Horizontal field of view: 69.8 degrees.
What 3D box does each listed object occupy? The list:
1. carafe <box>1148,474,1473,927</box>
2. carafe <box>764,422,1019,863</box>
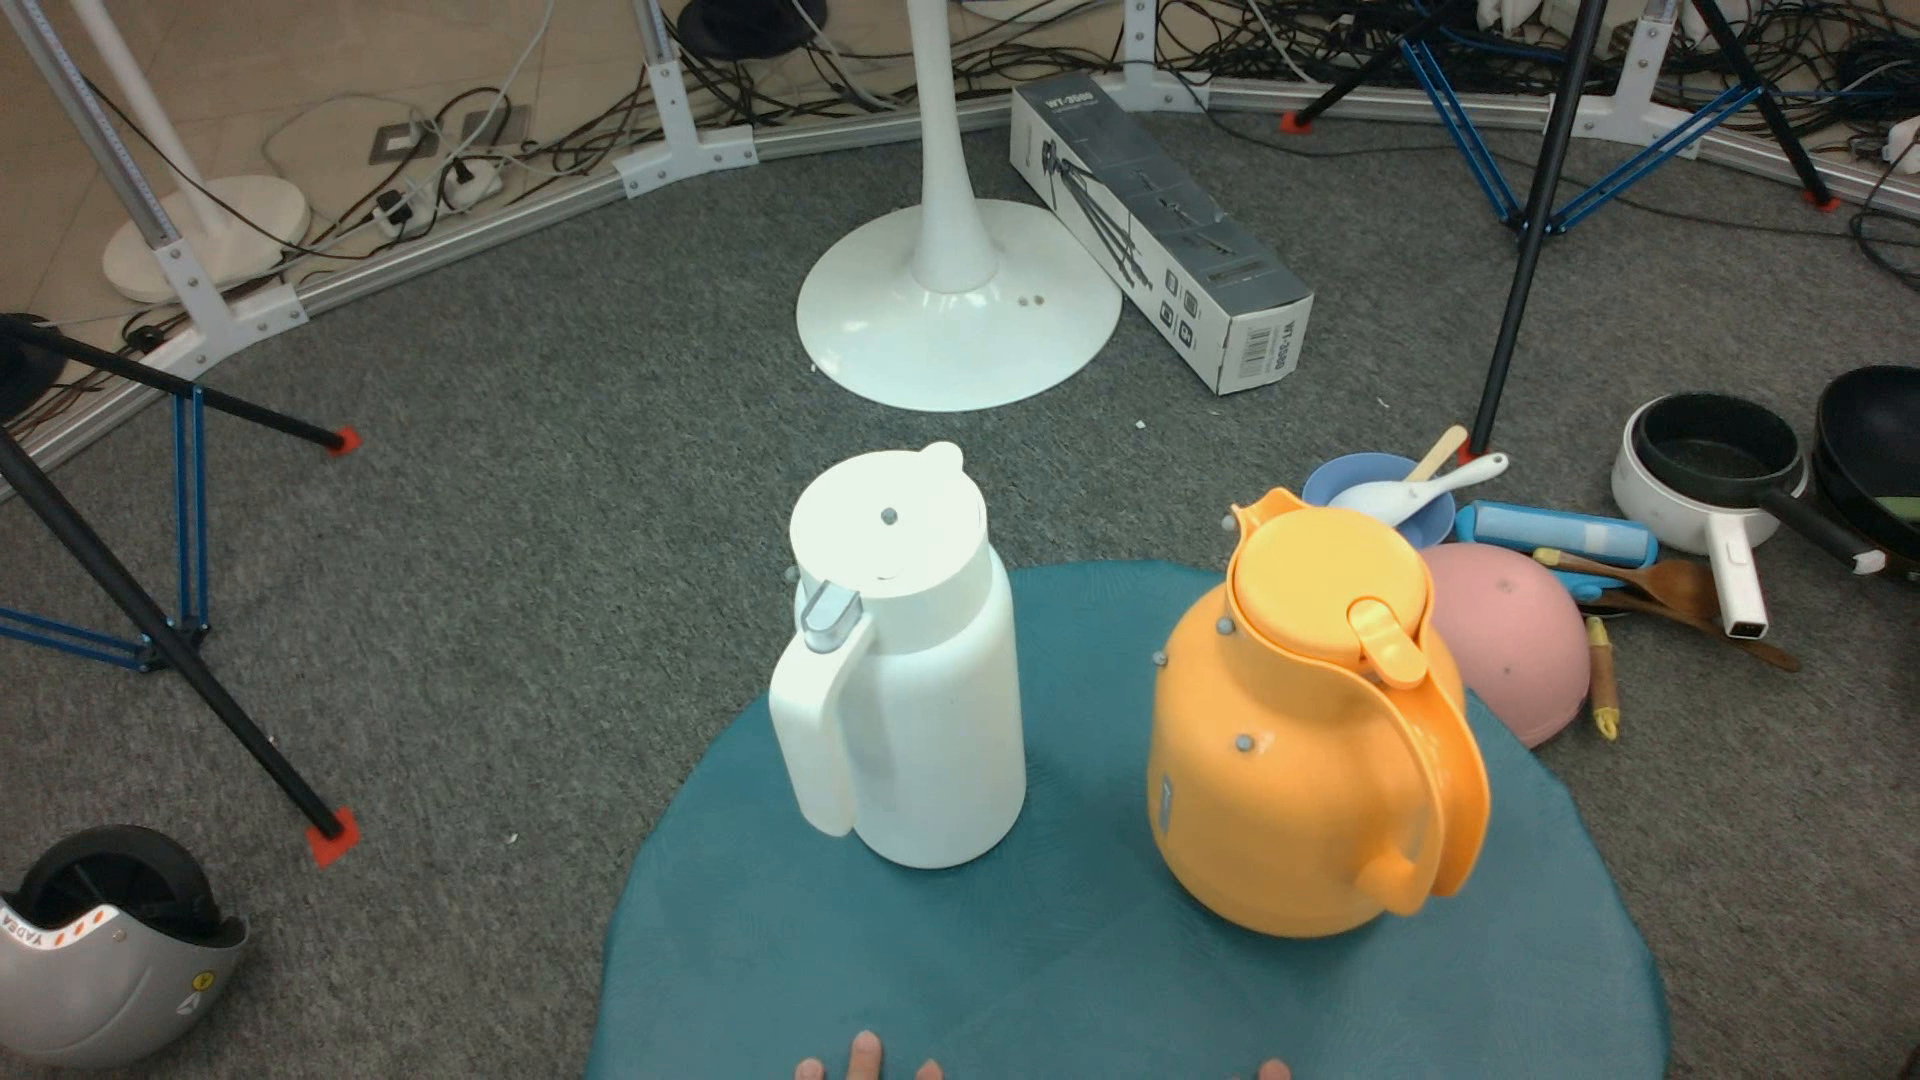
[{"bbox_3d":[0.190,0.103,0.737,0.163,0.259,0.203,-20,49,-8],"label":"carafe"},{"bbox_3d":[-0.036,0.083,0.770,0.124,0.267,0.173,19,54,18],"label":"carafe"}]
